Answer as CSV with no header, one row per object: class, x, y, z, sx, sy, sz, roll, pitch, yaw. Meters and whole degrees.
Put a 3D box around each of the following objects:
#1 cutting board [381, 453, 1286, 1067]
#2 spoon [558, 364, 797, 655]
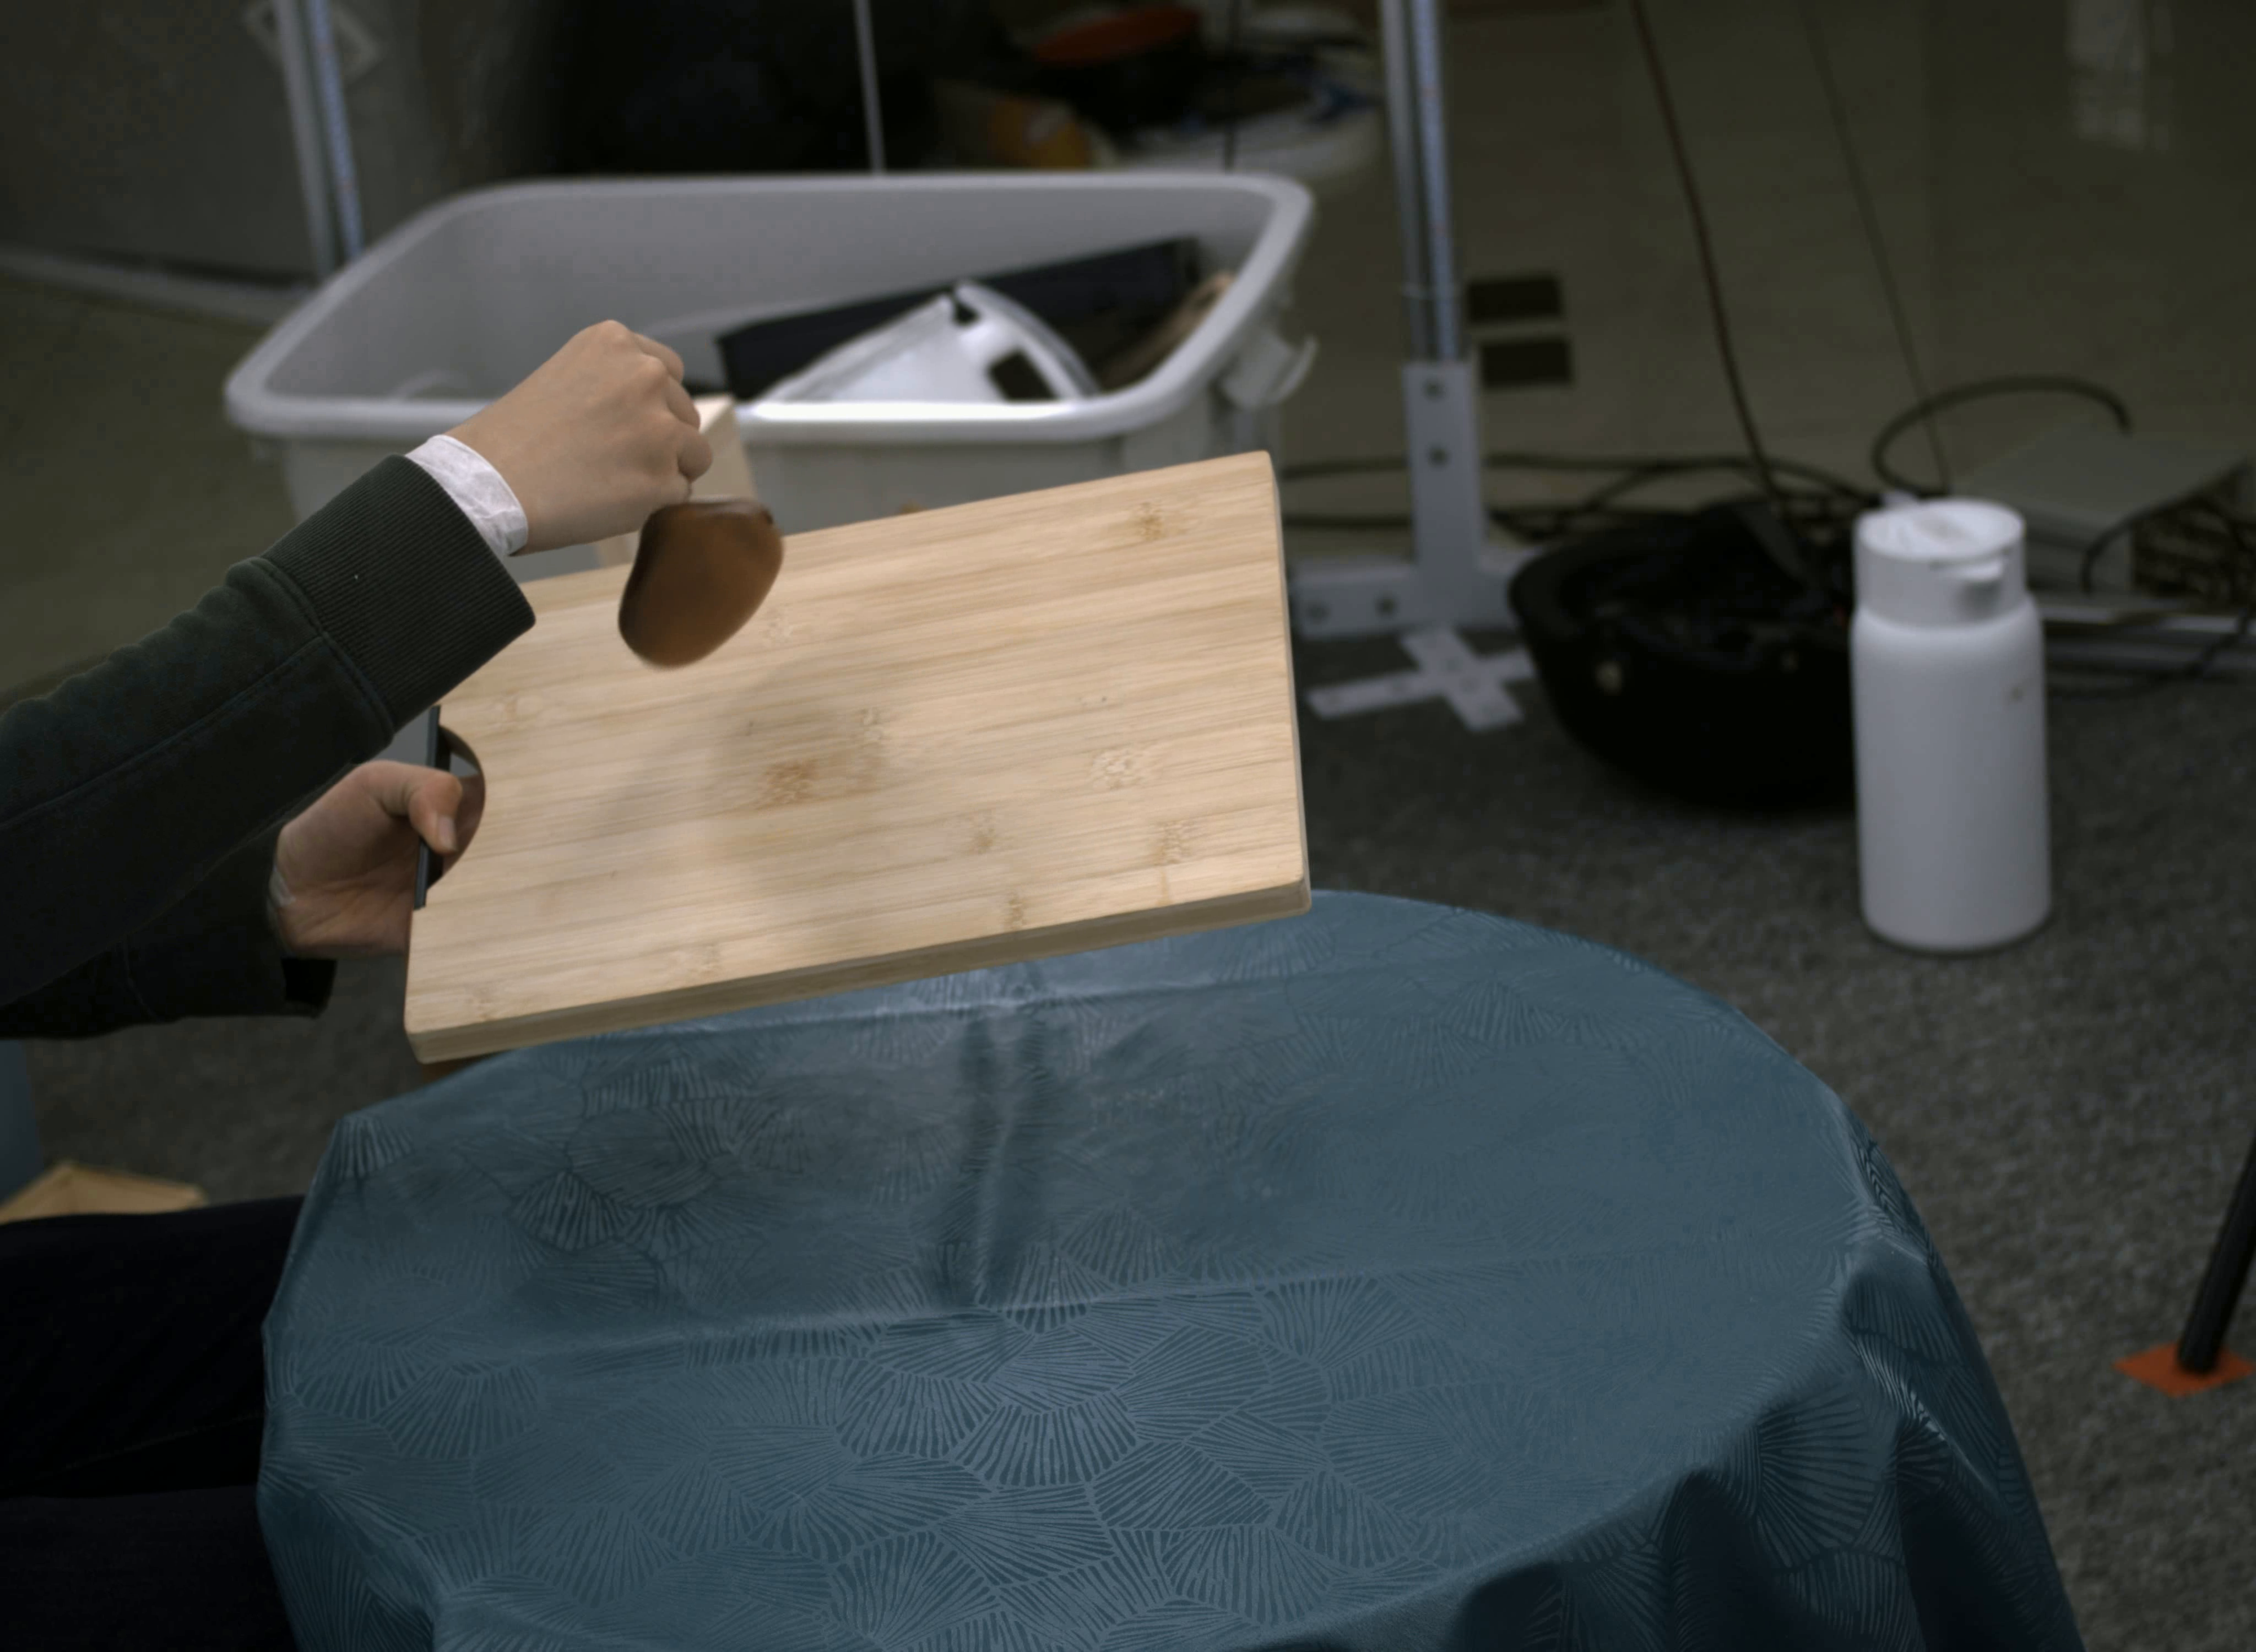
cutting board,-0.110,-0.028,2.162,0.348,0.024,0.246,-10,45,7
spoon,-0.168,-0.115,2.064,0.075,0.218,0.017,-39,66,-4
